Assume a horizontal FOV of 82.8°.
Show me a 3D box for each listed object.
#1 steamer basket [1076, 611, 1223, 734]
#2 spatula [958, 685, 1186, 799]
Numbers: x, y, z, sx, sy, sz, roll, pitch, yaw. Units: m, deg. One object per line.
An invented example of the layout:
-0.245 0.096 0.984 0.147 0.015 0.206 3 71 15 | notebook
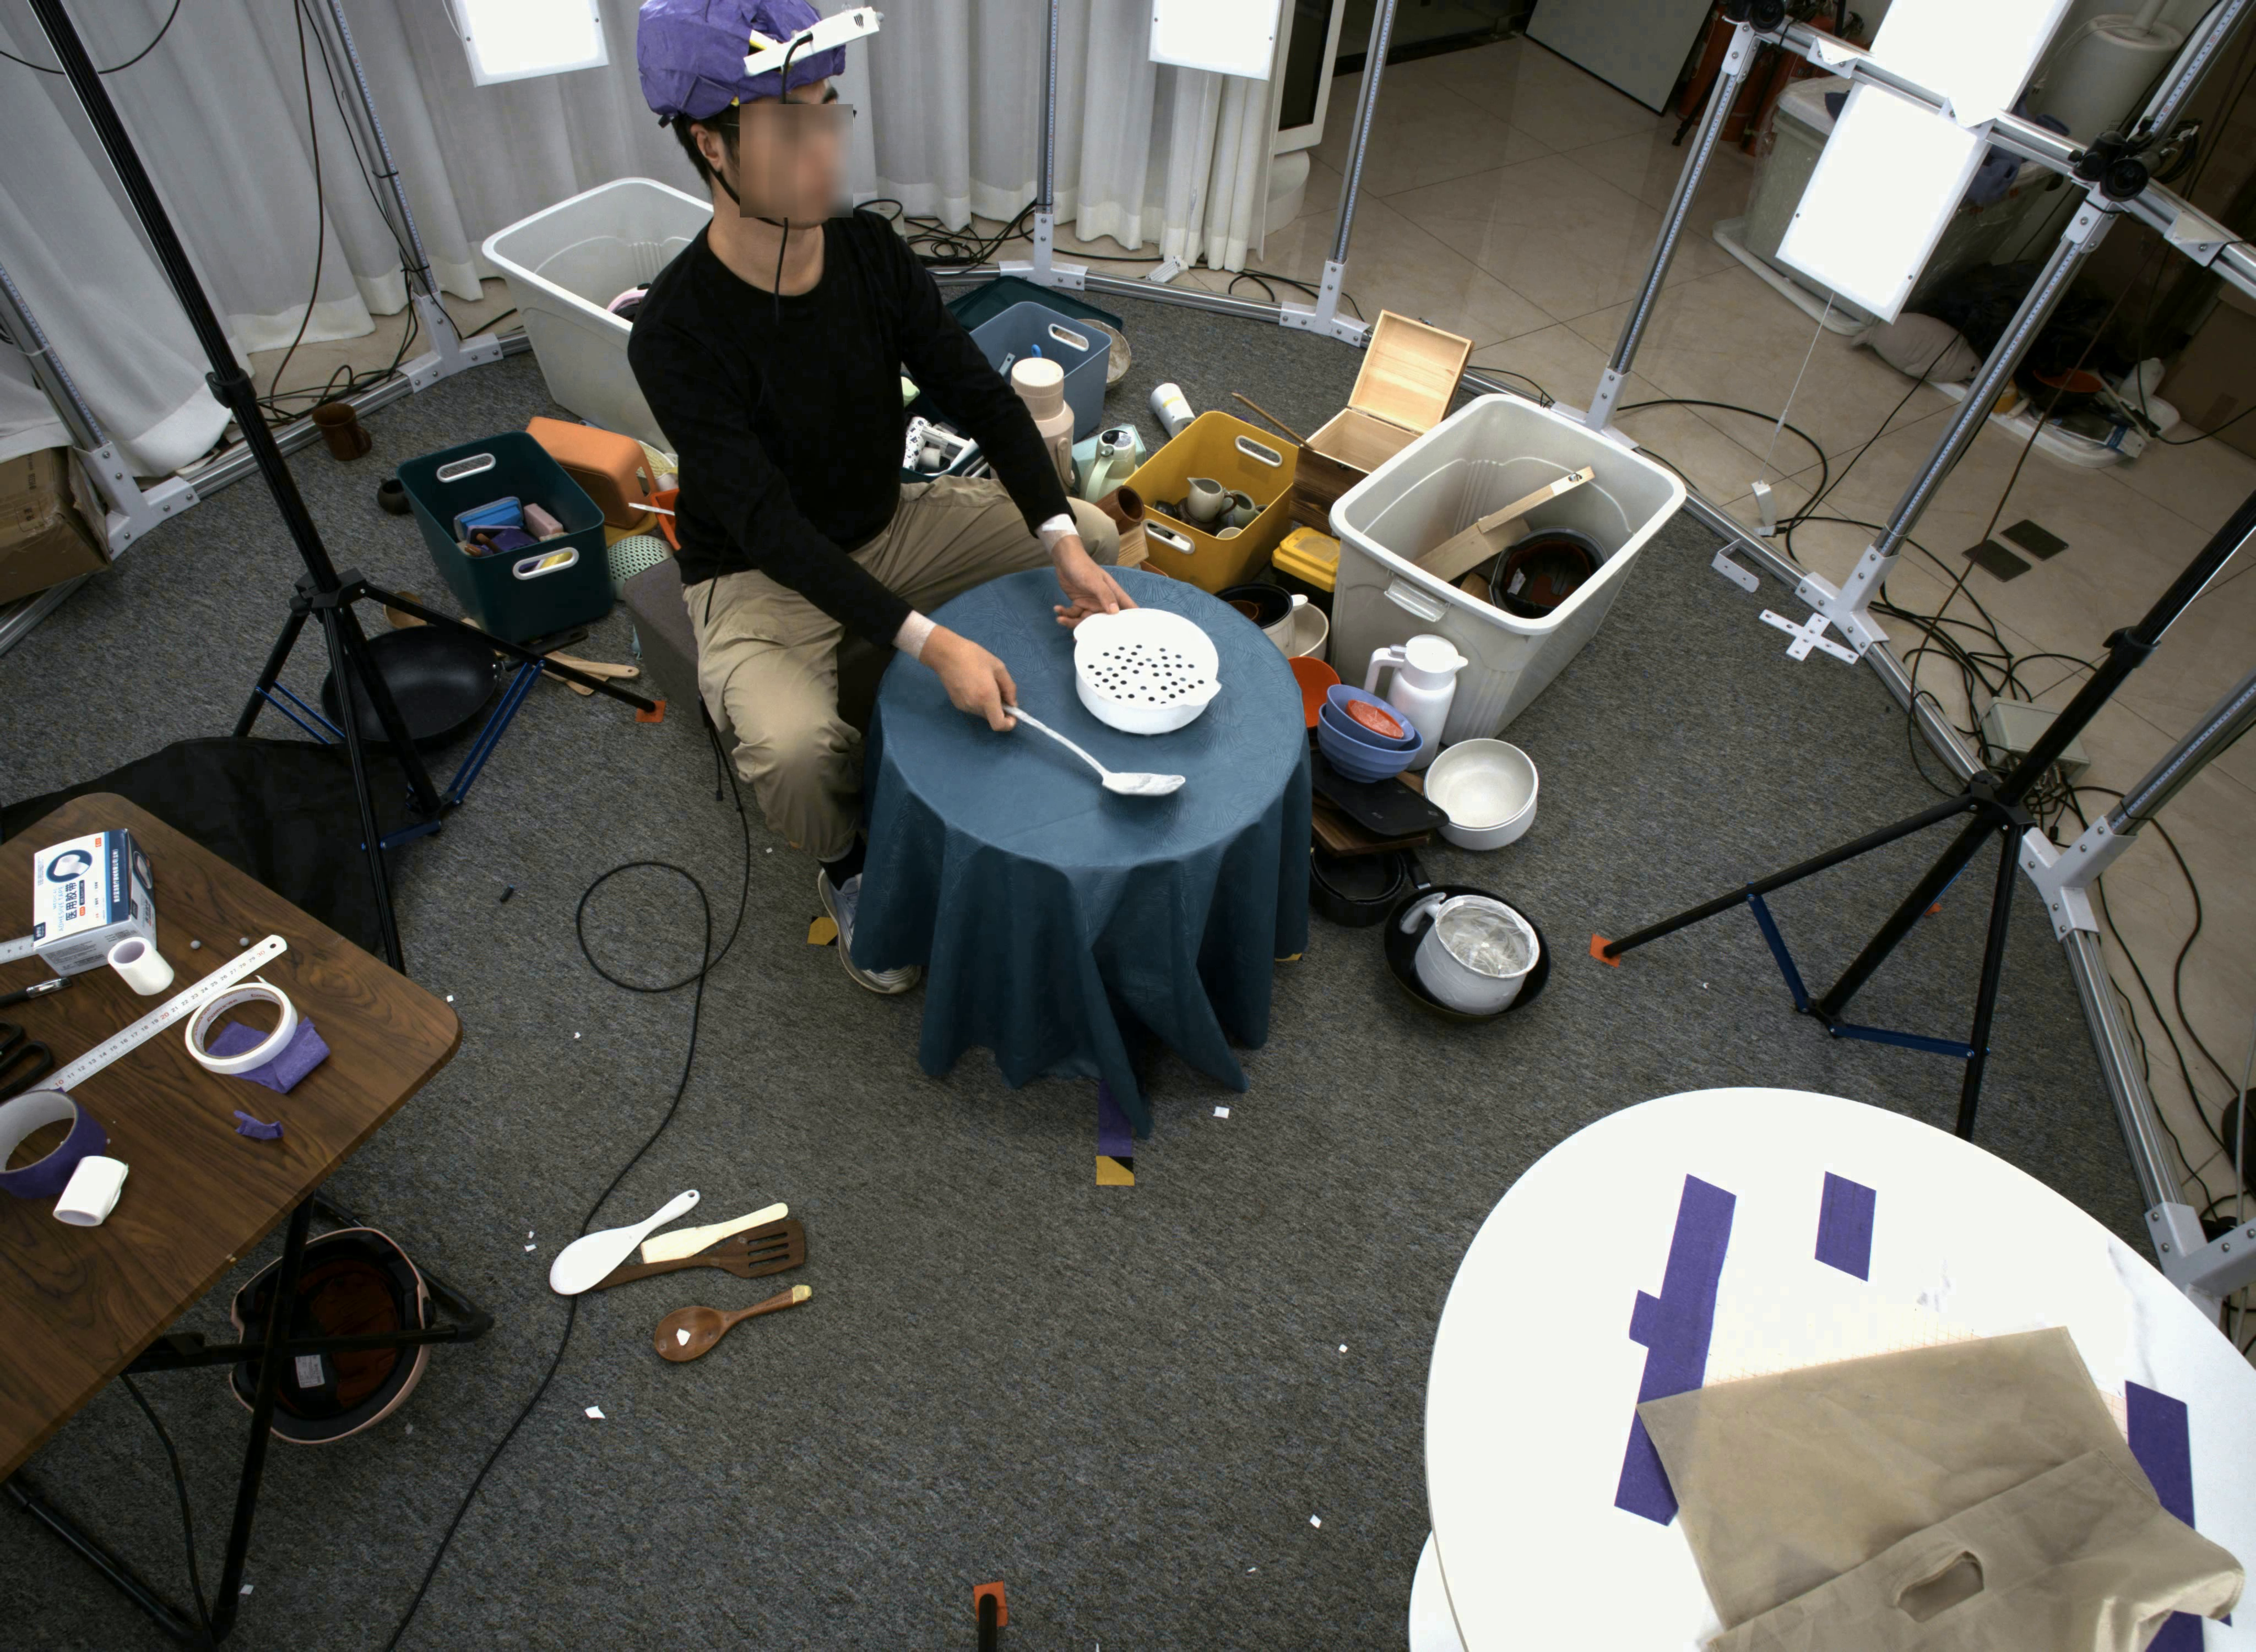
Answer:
0.028 -0.216 1.814 0.233 0.067 0.204 32 53 23 | steamer basket
-0.090 -0.121 1.730 0.368 0.044 0.099 32 33 19 | spatula
